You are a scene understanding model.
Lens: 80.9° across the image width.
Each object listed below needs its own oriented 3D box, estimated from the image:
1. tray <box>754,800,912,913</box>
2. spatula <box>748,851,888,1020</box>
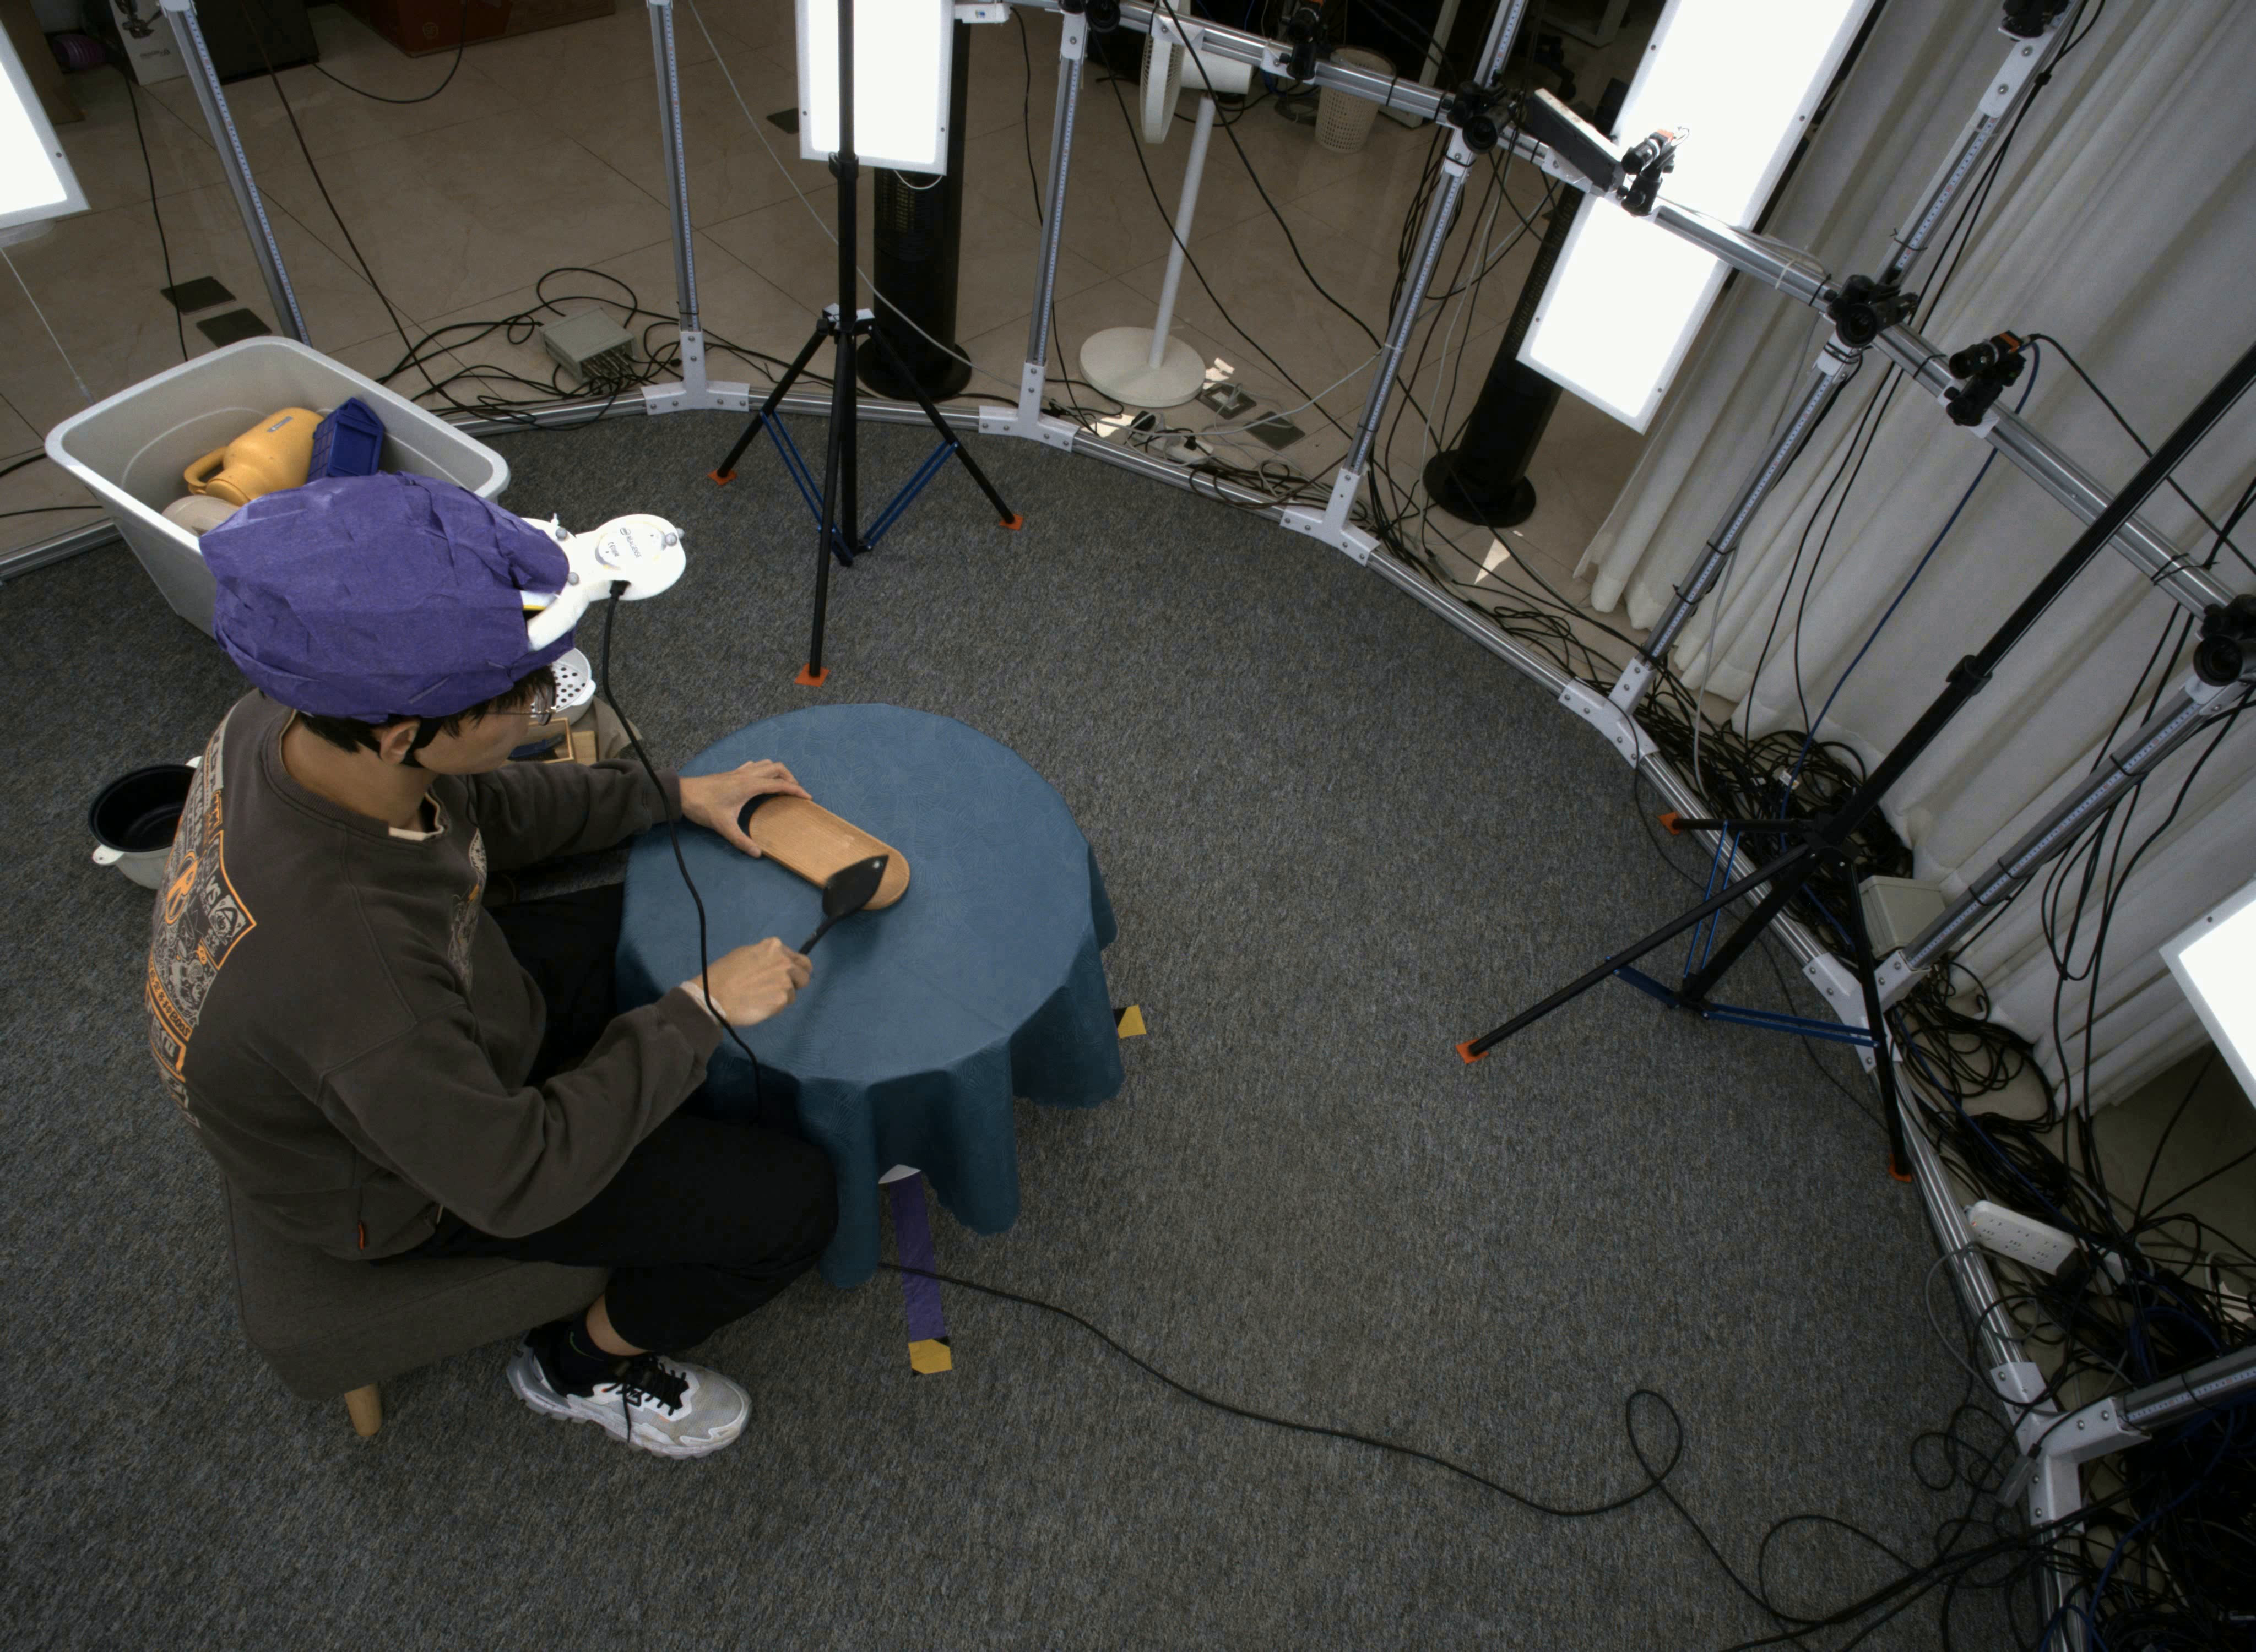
[{"bbox_3d":[-0.389,0.038,1.709,0.228,0.021,0.101,30,54,7],"label":"tray"},{"bbox_3d":[-0.373,0.125,1.530,0.041,0.098,0.323,61,25,-16],"label":"spatula"}]
